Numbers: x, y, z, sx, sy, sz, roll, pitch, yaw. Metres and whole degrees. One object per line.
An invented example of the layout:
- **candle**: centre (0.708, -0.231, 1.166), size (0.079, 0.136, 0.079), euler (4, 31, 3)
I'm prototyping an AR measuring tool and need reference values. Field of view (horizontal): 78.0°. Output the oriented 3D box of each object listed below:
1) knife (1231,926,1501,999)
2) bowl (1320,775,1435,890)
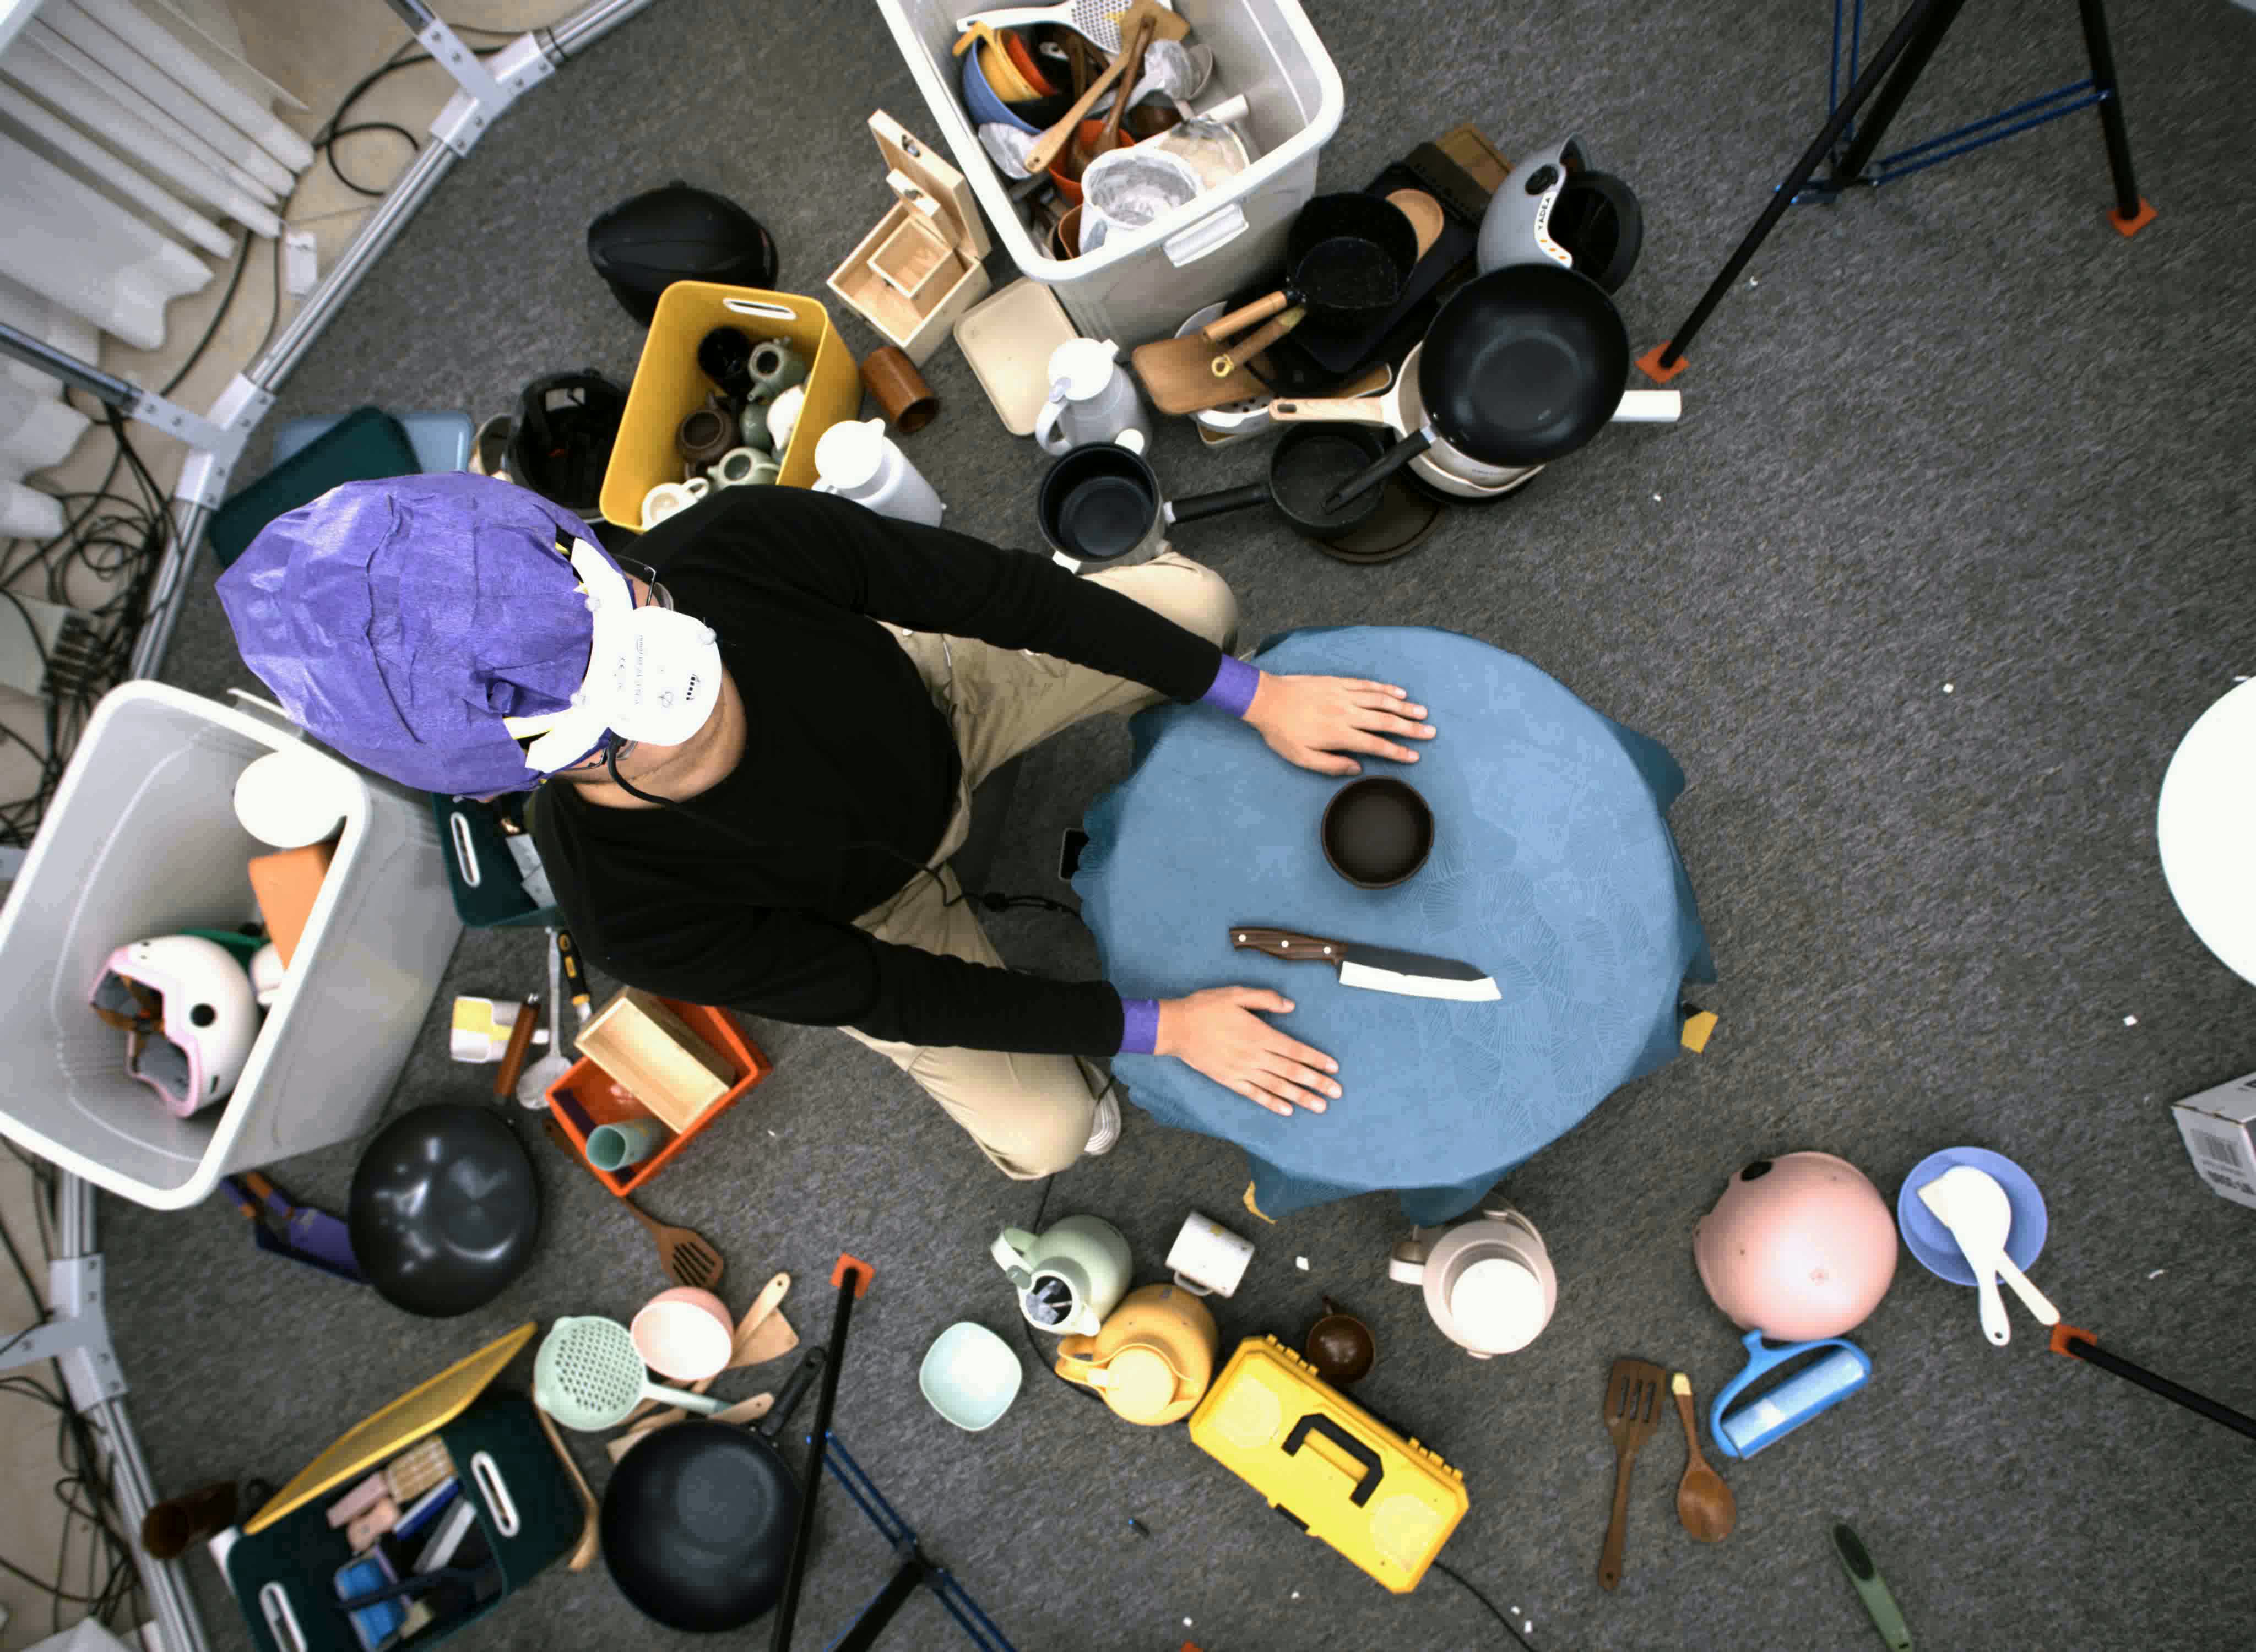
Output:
- **knife**: centre (0.249, 0.143, 1.455), size (0.289, 0.020, 0.050), euler (11, 94, 9)
- **bowl**: centre (0.258, 0.007, 1.430), size (0.118, 0.070, 0.117), euler (-1, 86, 11)
